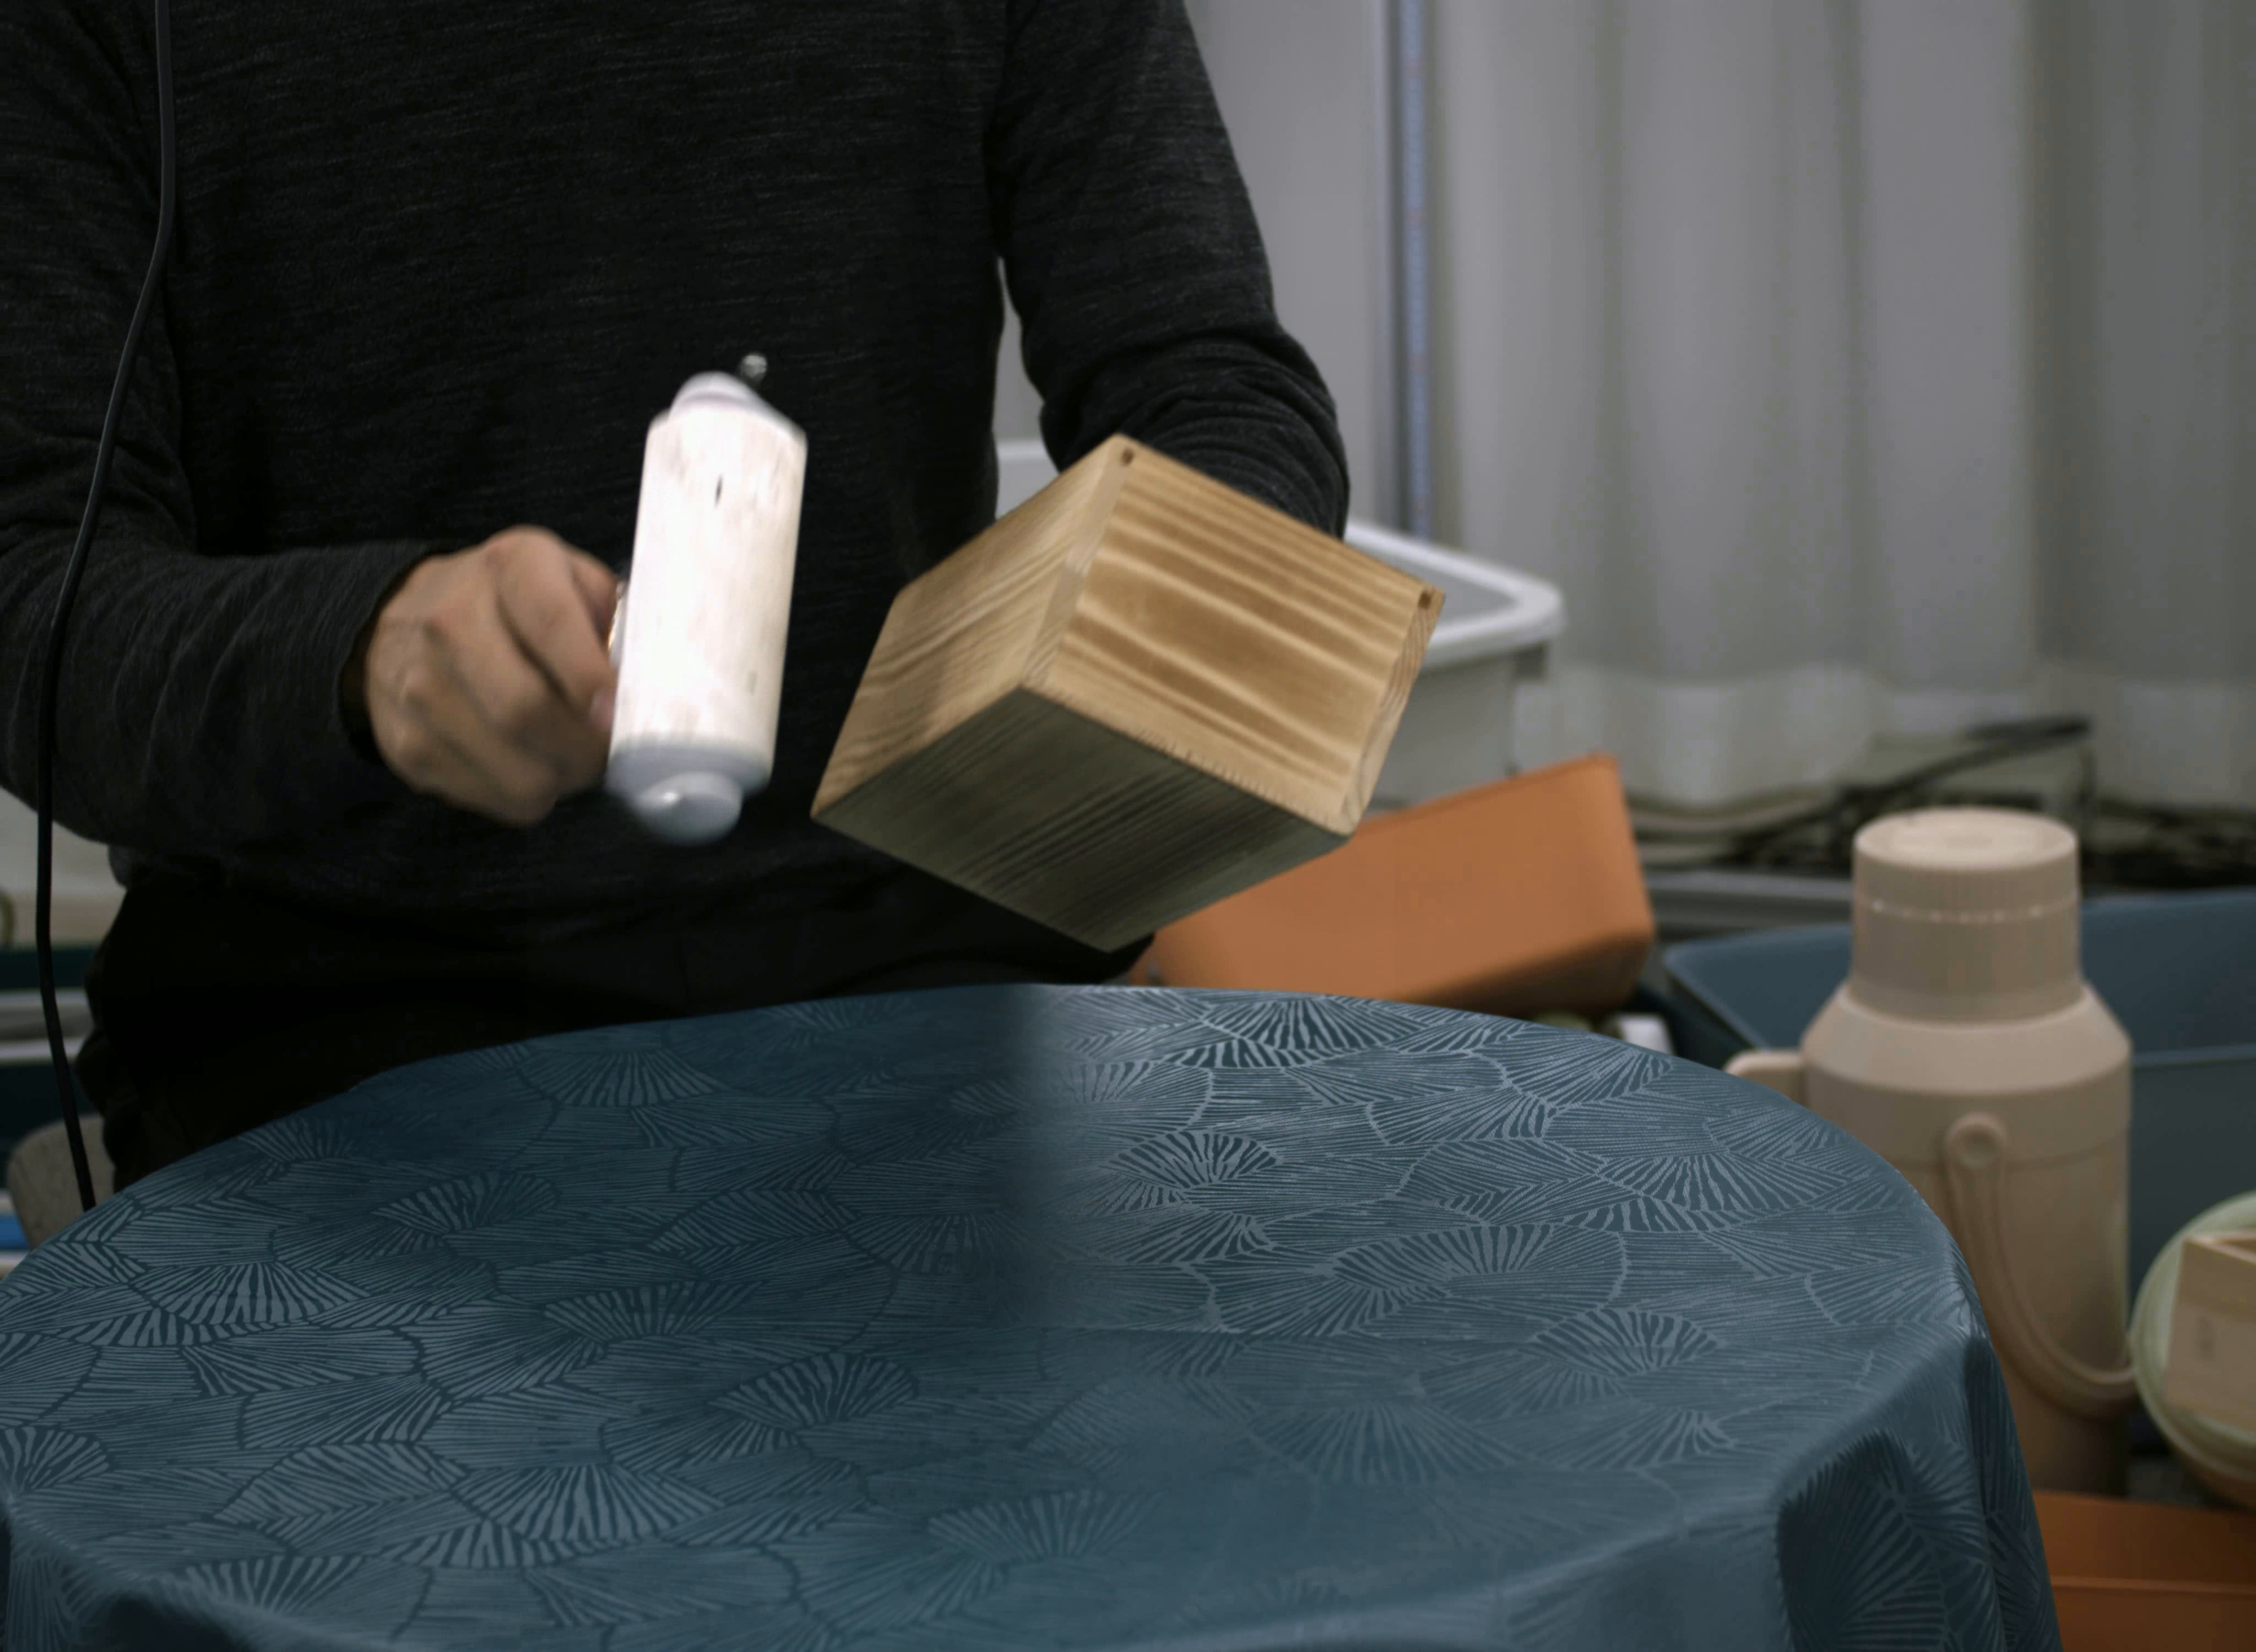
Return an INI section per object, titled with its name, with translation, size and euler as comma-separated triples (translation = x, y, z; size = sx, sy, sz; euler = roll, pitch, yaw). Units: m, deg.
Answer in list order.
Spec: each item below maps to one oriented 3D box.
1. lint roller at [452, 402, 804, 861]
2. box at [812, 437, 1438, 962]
[lint roller]
translation = -0.161, -0.047, 1.607
size = 0.049, 0.134, 0.181
euler = 18, -20, -37
[box]
translation = -0.005, -0.032, 1.606
size = 0.107, 0.081, 0.211
euler = 24, -18, -13
